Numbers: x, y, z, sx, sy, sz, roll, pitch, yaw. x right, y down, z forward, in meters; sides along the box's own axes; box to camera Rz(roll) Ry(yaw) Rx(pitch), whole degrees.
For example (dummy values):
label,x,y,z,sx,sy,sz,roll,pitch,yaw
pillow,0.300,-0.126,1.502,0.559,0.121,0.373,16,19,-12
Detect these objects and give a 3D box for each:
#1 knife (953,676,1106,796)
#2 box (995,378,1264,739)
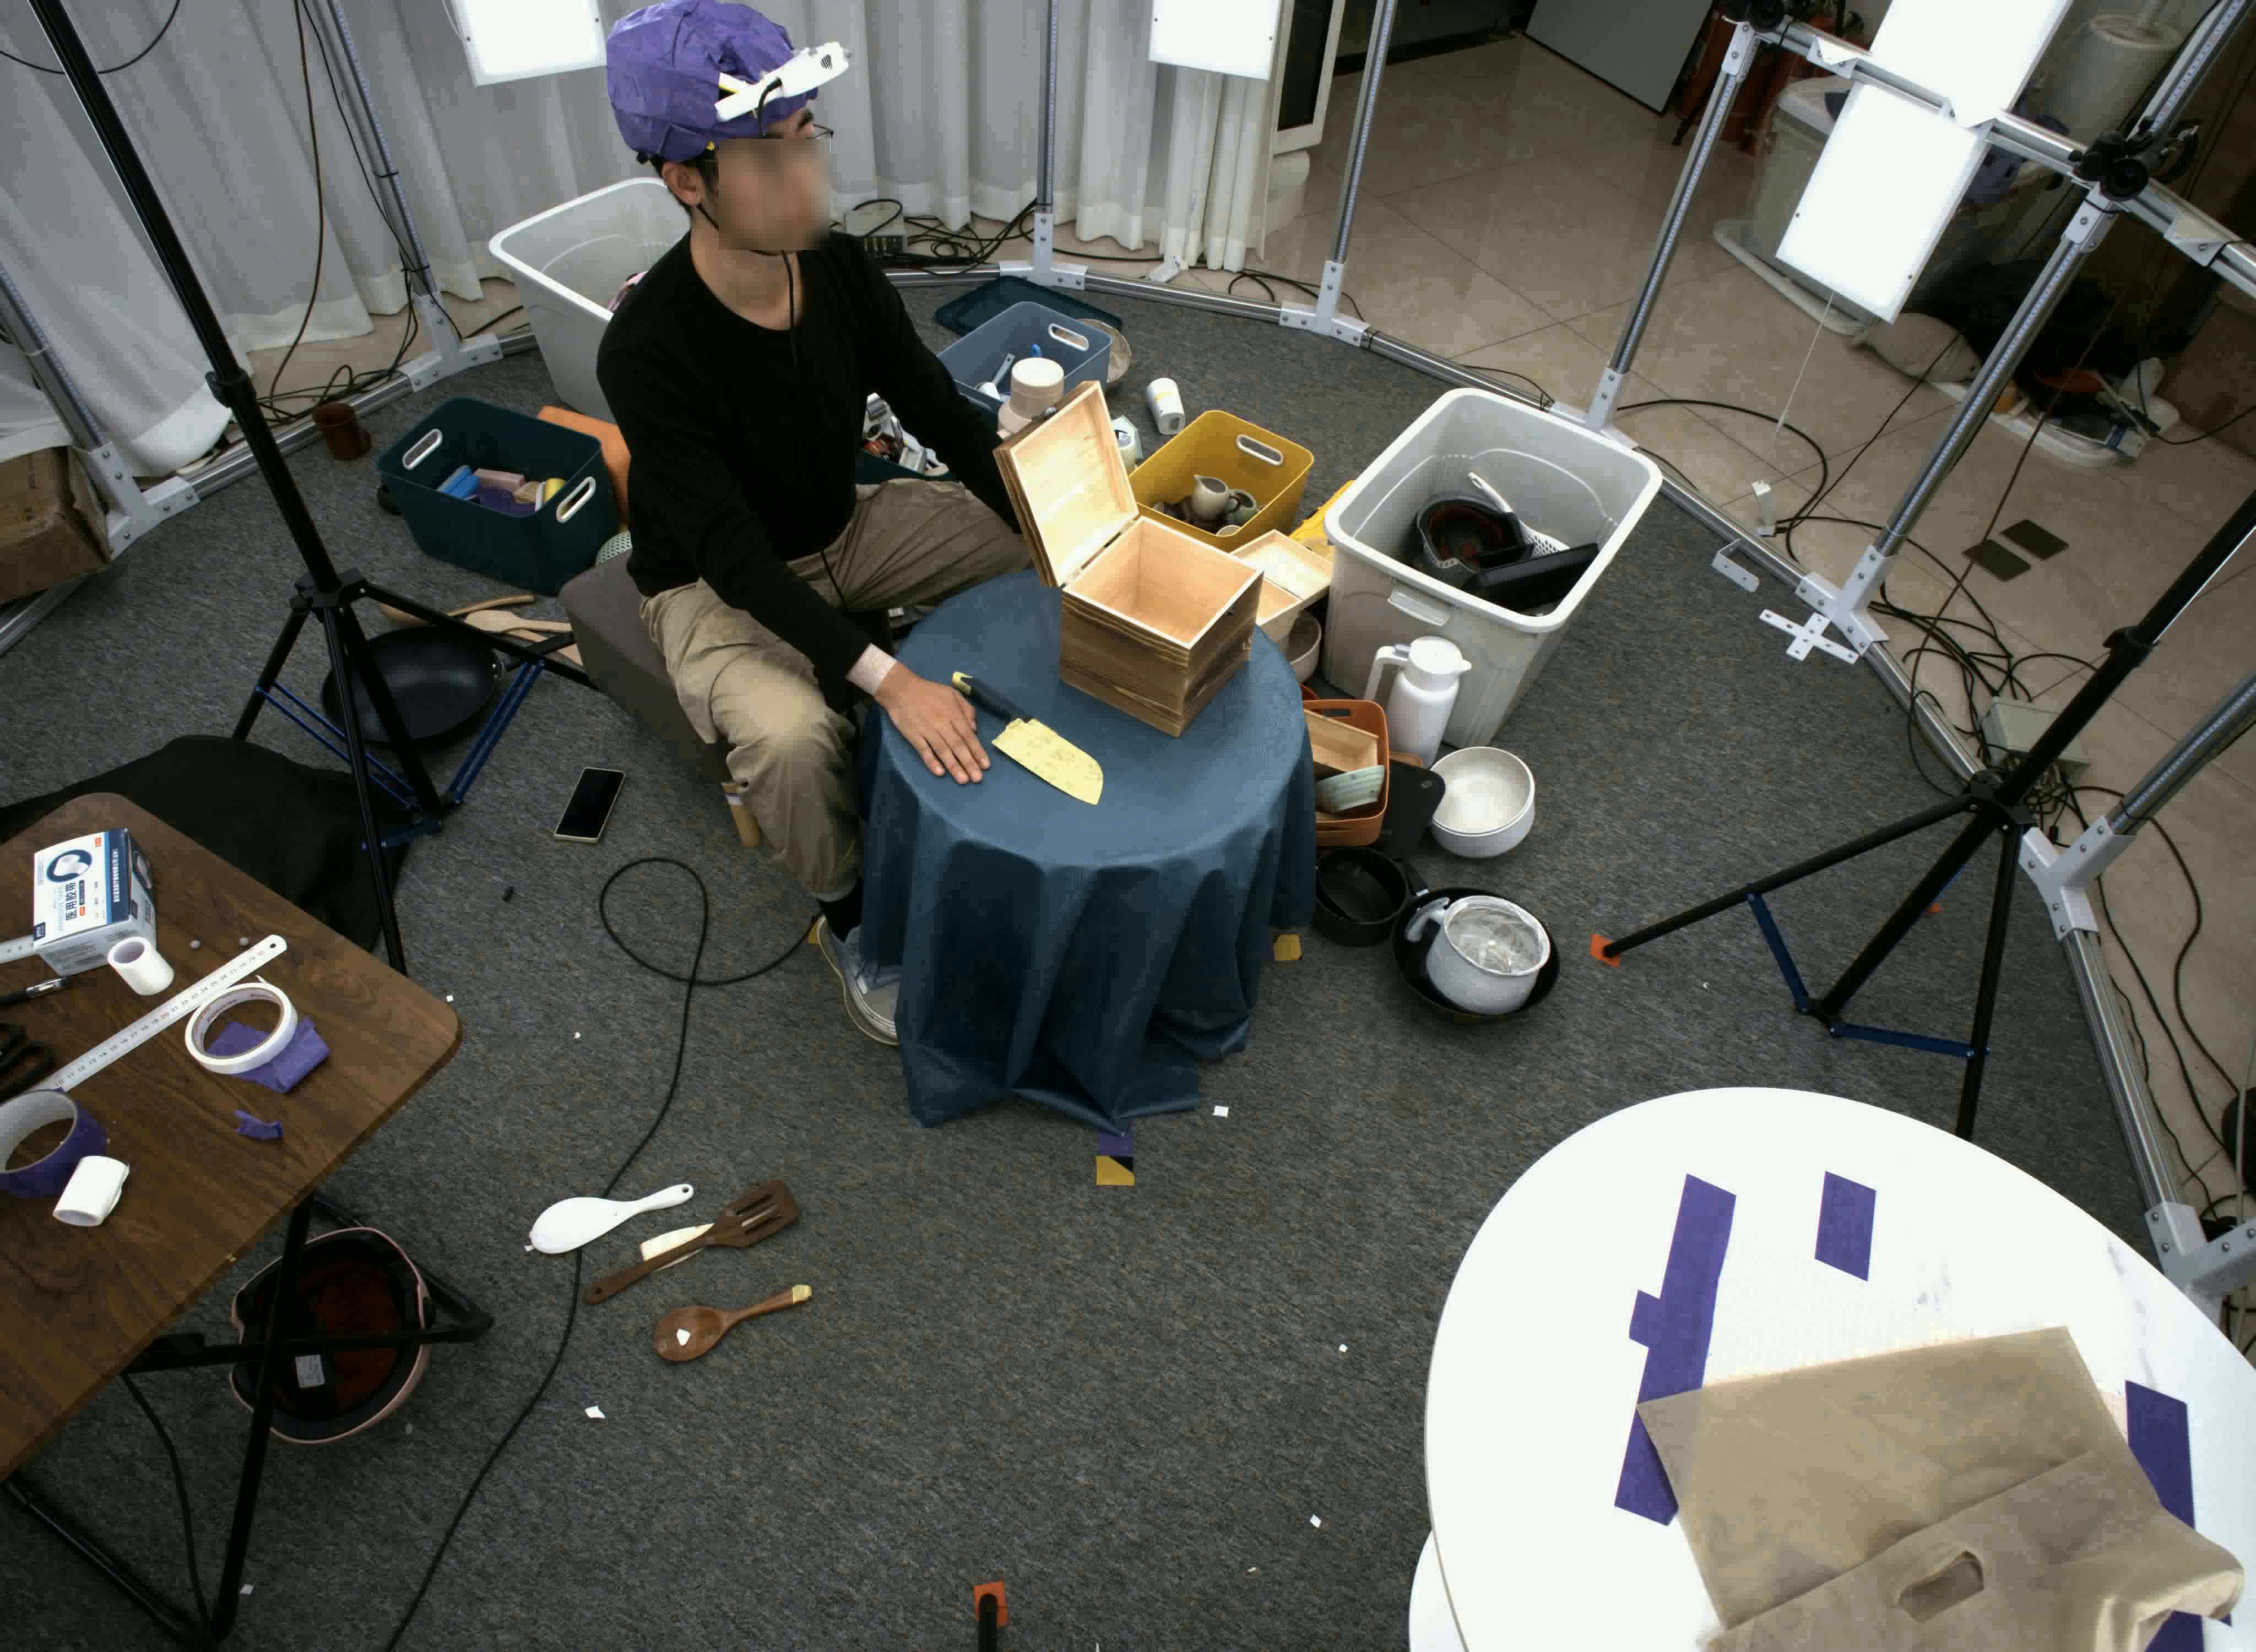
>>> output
label,x,y,z,sx,sy,sz,roll,pitch,yaw
knife,-0.142,-0.122,1.758,0.293,0.026,0.082,36,54,24
box,0.006,-0.364,1.754,0.325,0.366,0.212,27,54,19
